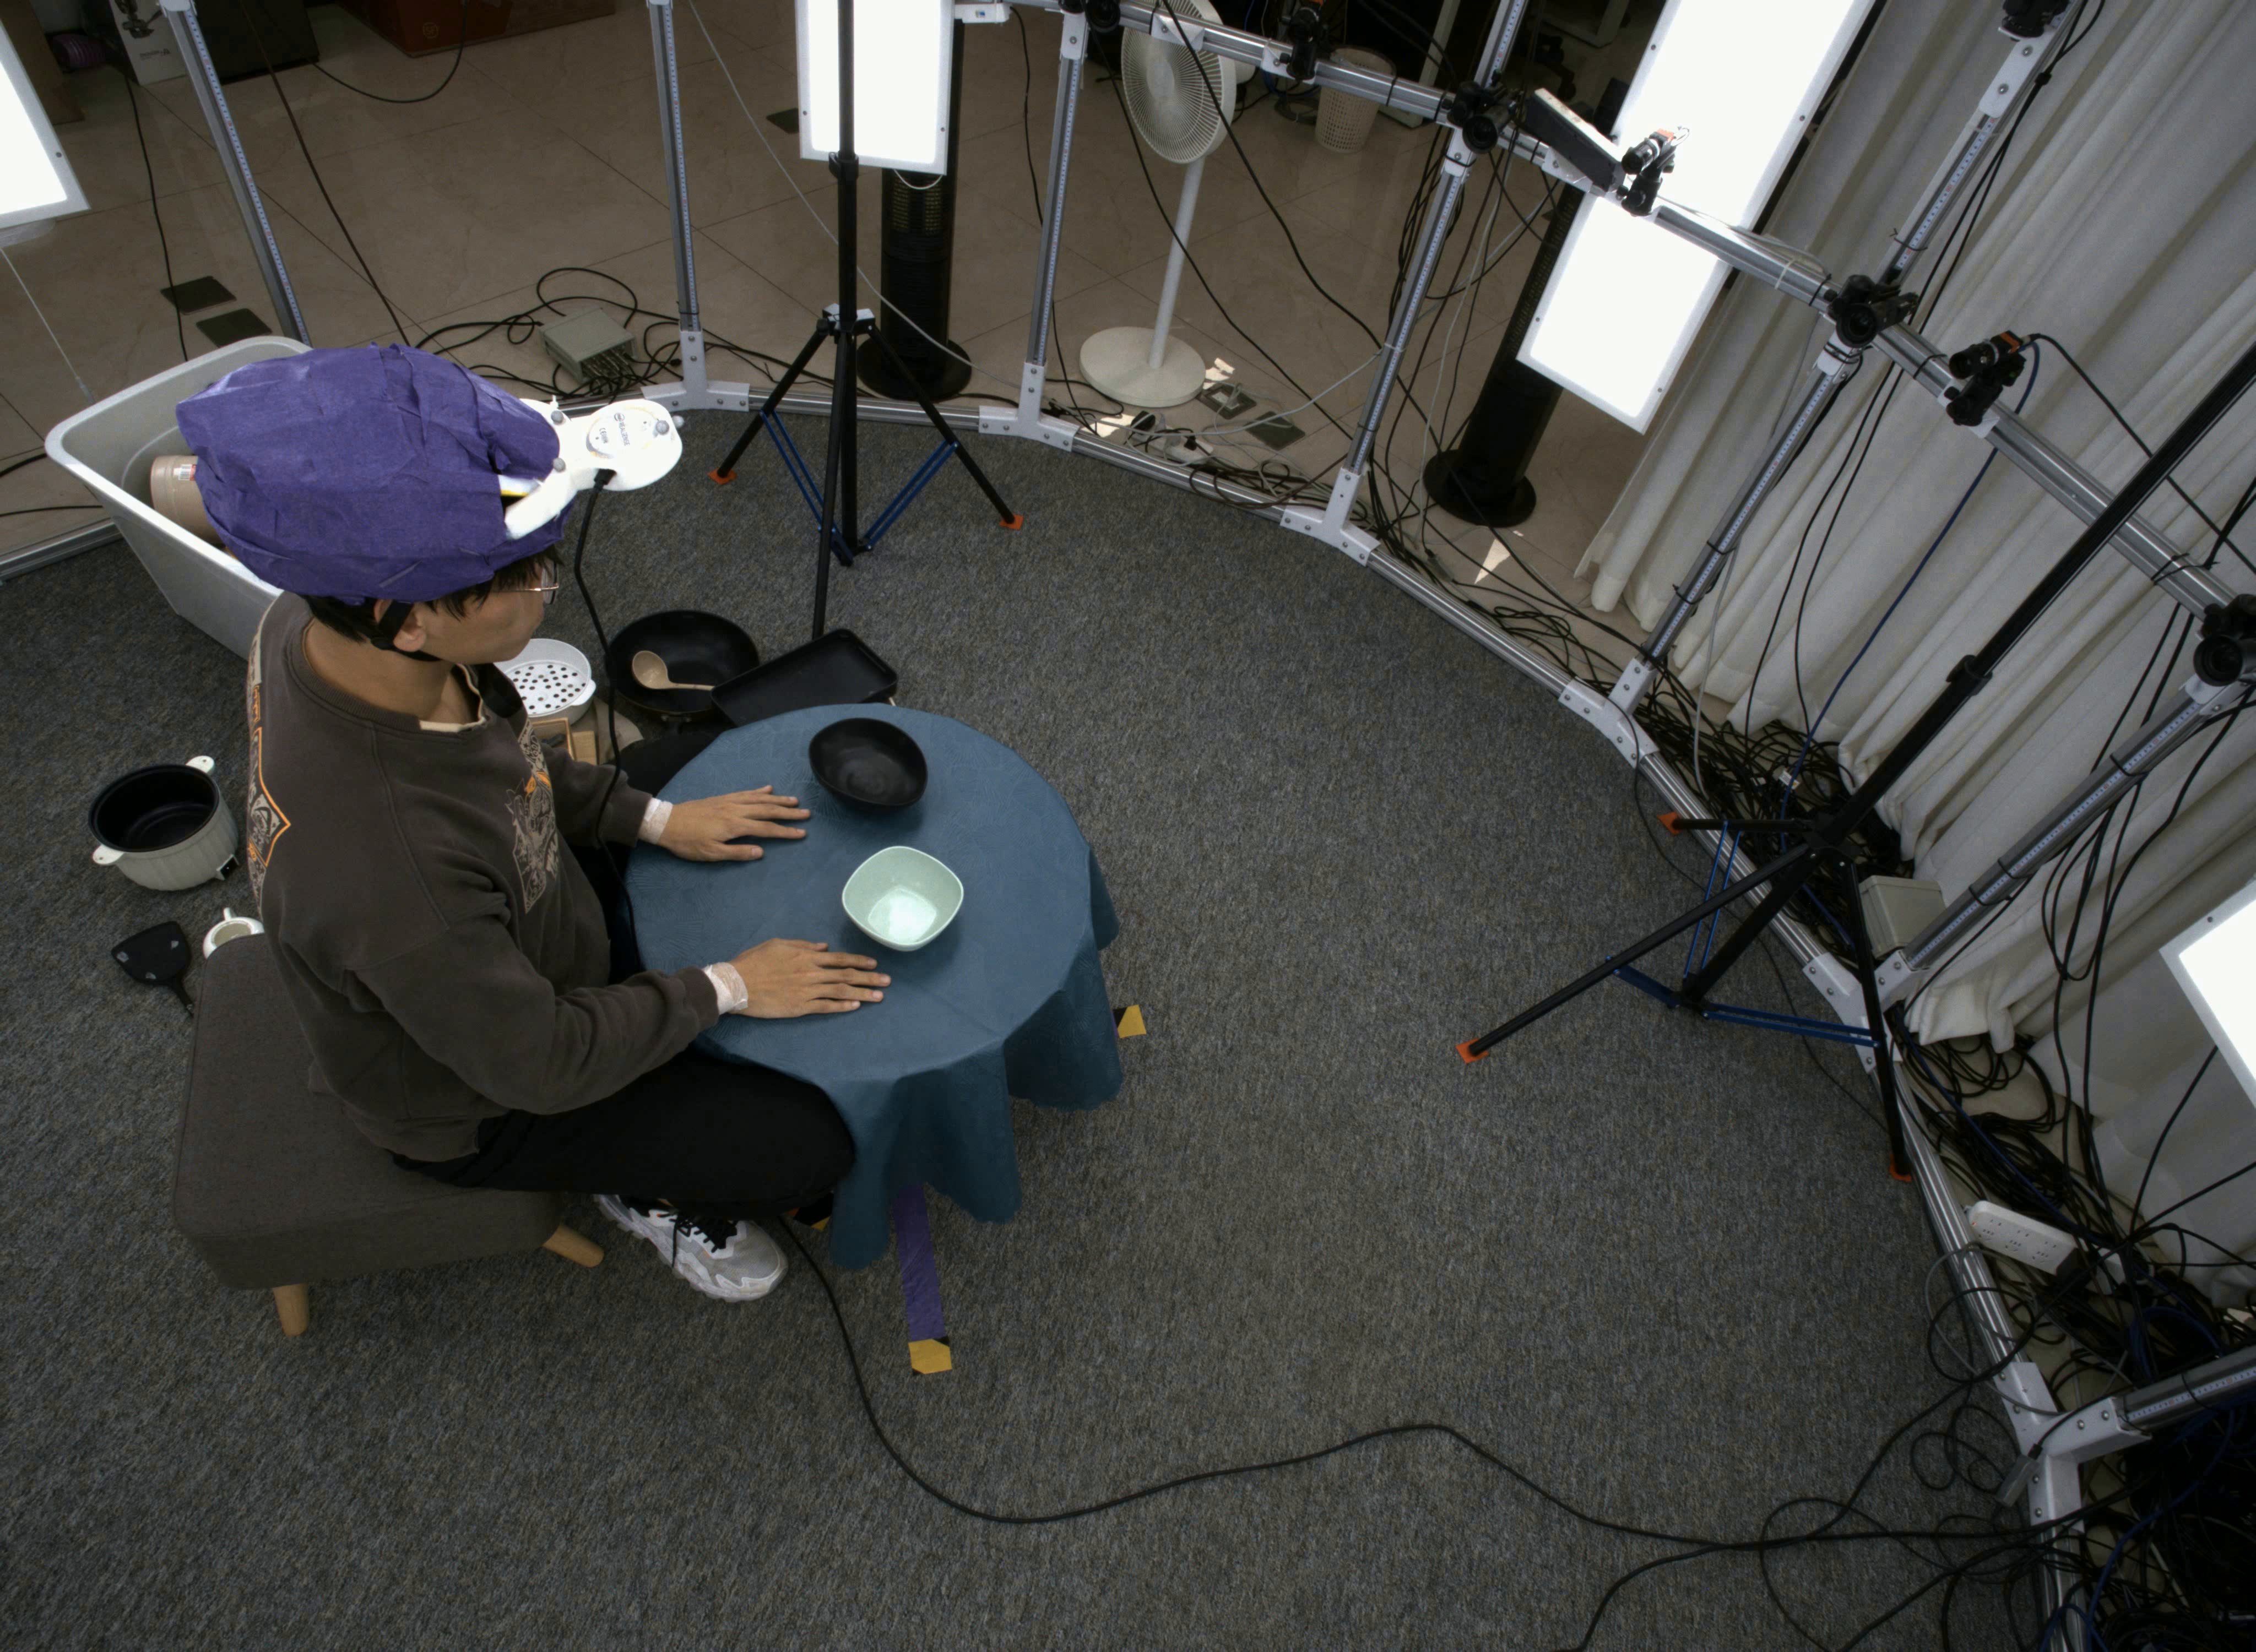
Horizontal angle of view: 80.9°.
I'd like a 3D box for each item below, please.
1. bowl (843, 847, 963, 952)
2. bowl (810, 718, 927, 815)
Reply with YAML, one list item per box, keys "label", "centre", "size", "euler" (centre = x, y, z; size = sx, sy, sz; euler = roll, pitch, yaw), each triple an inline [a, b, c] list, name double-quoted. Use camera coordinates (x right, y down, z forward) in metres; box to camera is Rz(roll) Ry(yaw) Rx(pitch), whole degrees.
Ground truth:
- label: "bowl"
  centre: [-0.287, 0.103, 1.659]
  size: [0.151, 0.060, 0.148]
  euler: [9, 51, -9]
- label: "bowl"
  centre: [-0.352, -0.071, 1.768]
  size: [0.168, 0.068, 0.137]
  euler: [29, 53, 7]
